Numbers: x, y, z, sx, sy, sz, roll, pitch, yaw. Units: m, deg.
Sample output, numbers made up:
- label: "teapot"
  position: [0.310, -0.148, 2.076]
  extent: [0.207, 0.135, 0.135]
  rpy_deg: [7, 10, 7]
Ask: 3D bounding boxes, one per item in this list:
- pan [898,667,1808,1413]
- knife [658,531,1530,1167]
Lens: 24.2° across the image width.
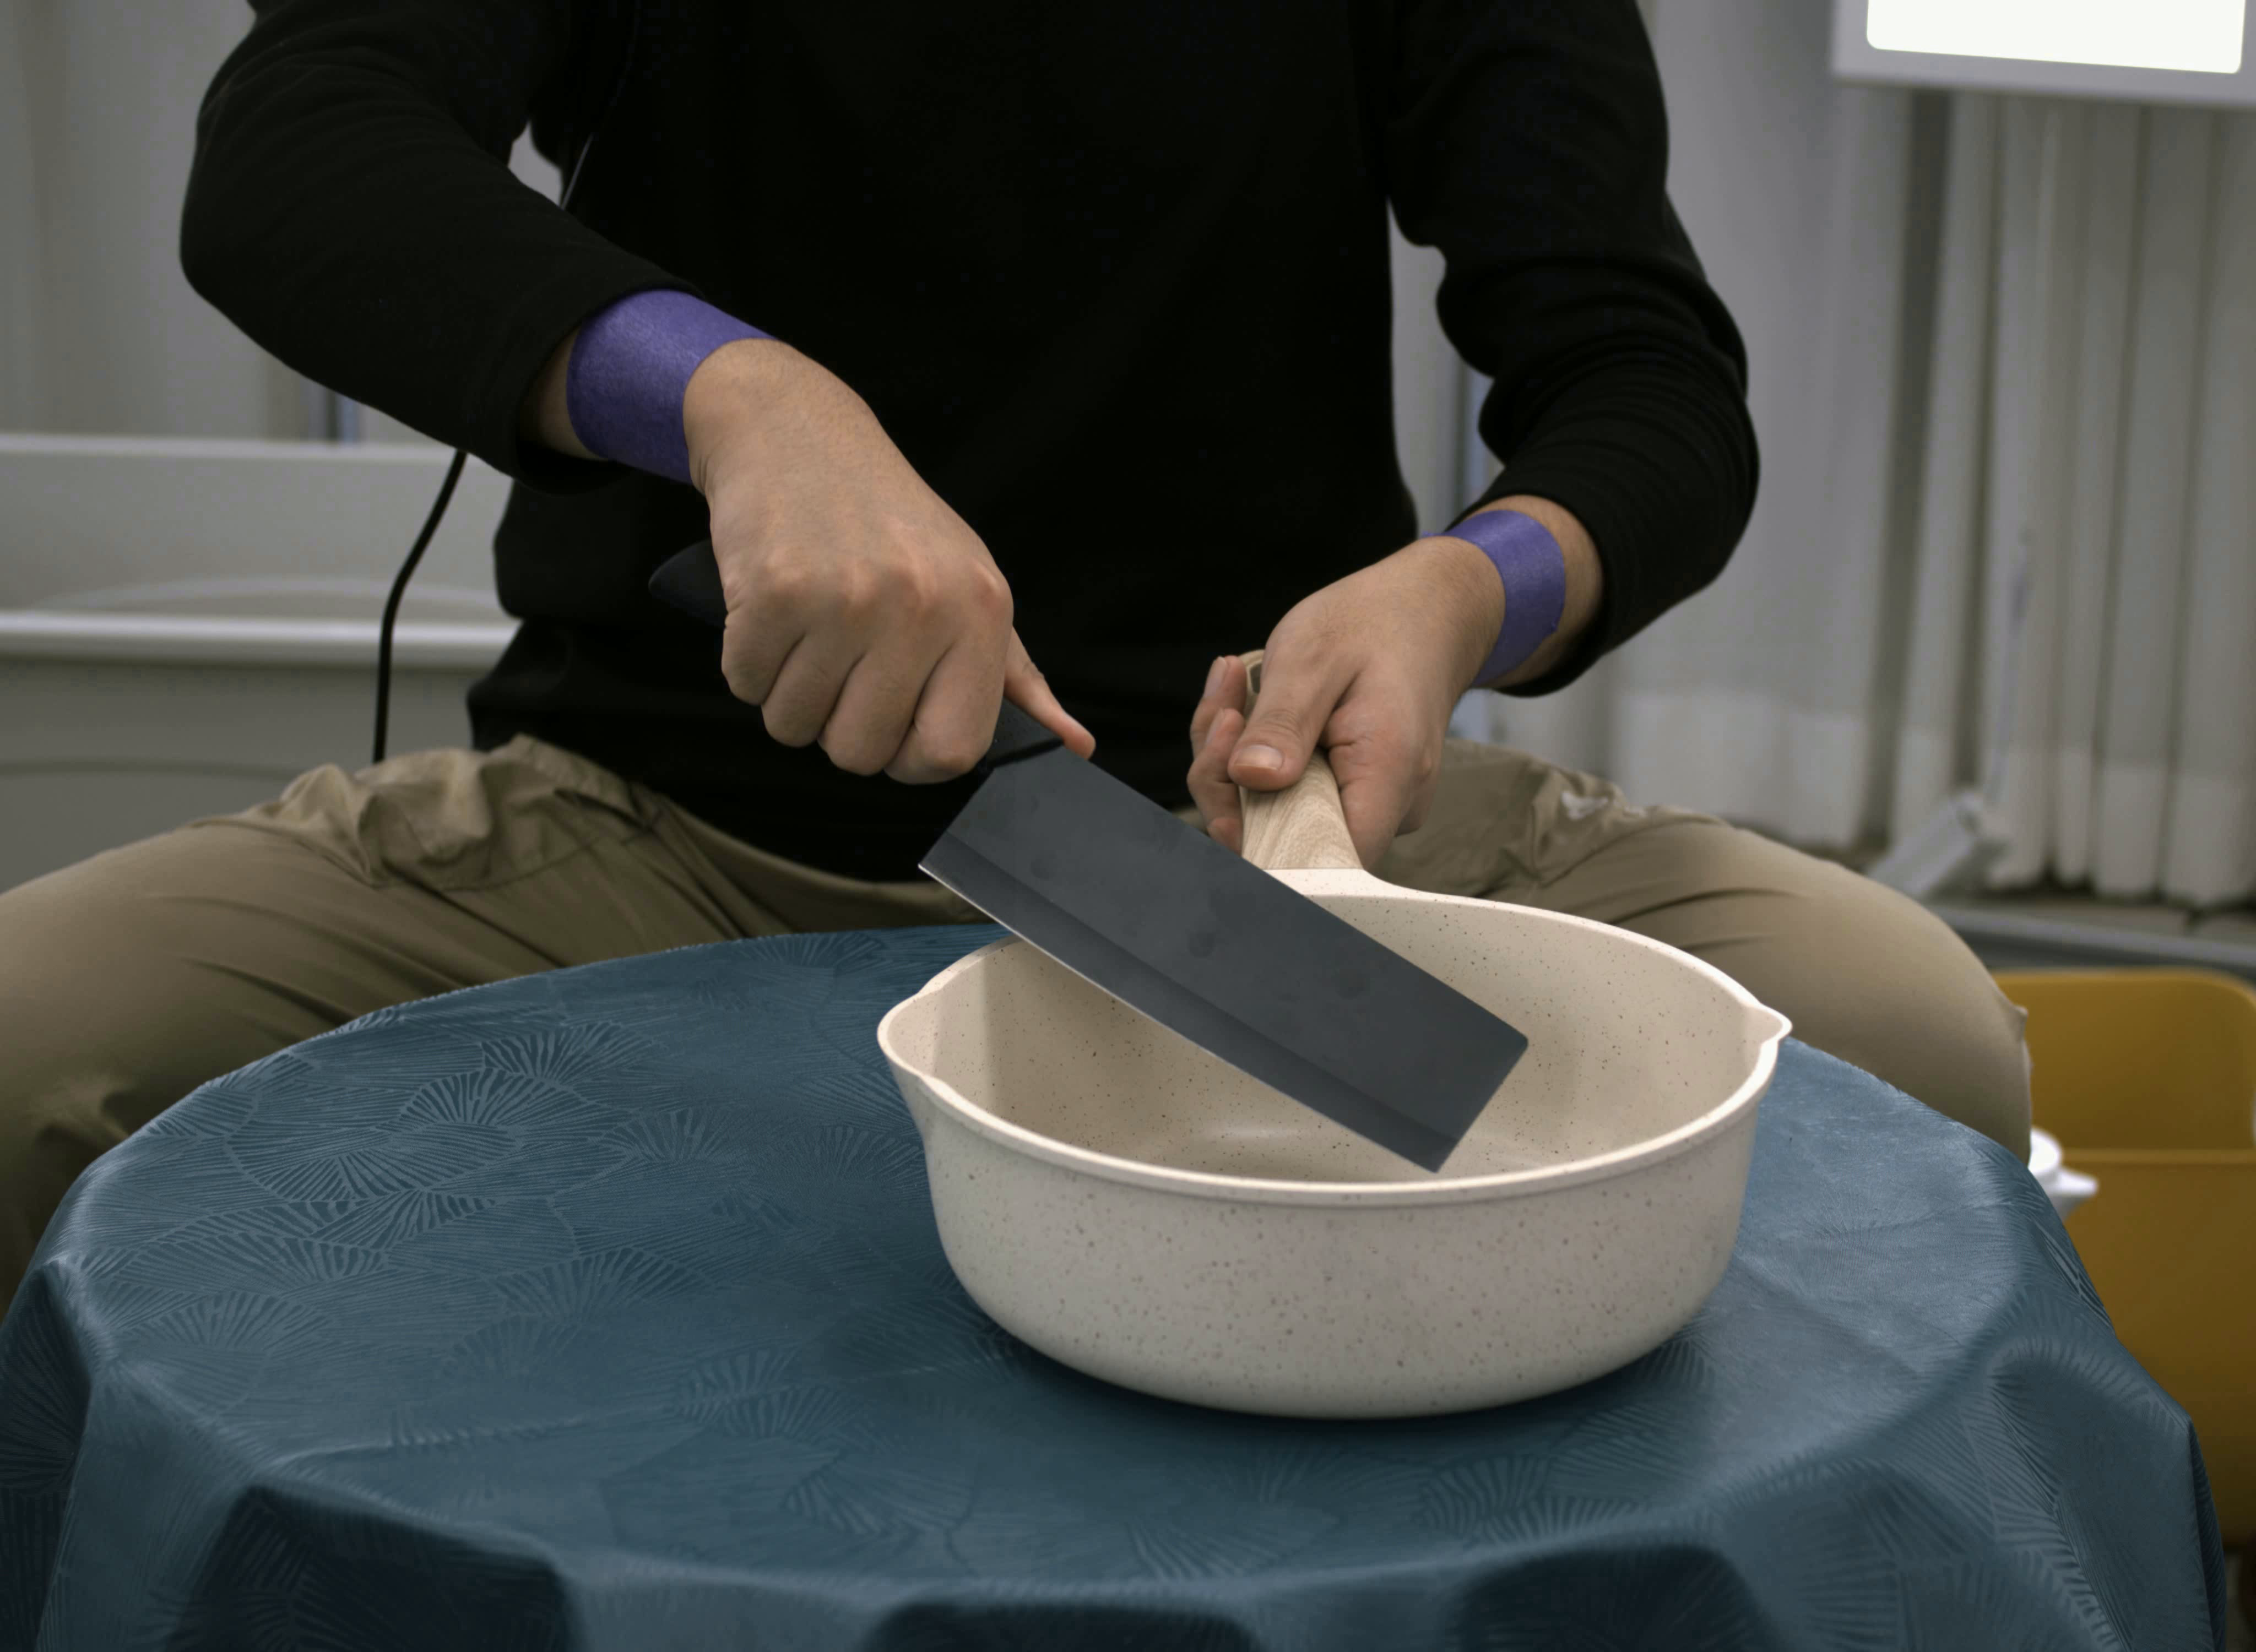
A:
- label: "pan"
  position: [0.060, 0.060, 1.603]
  extent: [0.263, 0.103, 0.432]
  rpy_deg: [-2, 18, -3]
- label: "knife"
  position: [-0.017, 0.003, 1.575]
  extent: [0.300, 0.021, 0.081]
  rpy_deg: [36, 55, 11]
